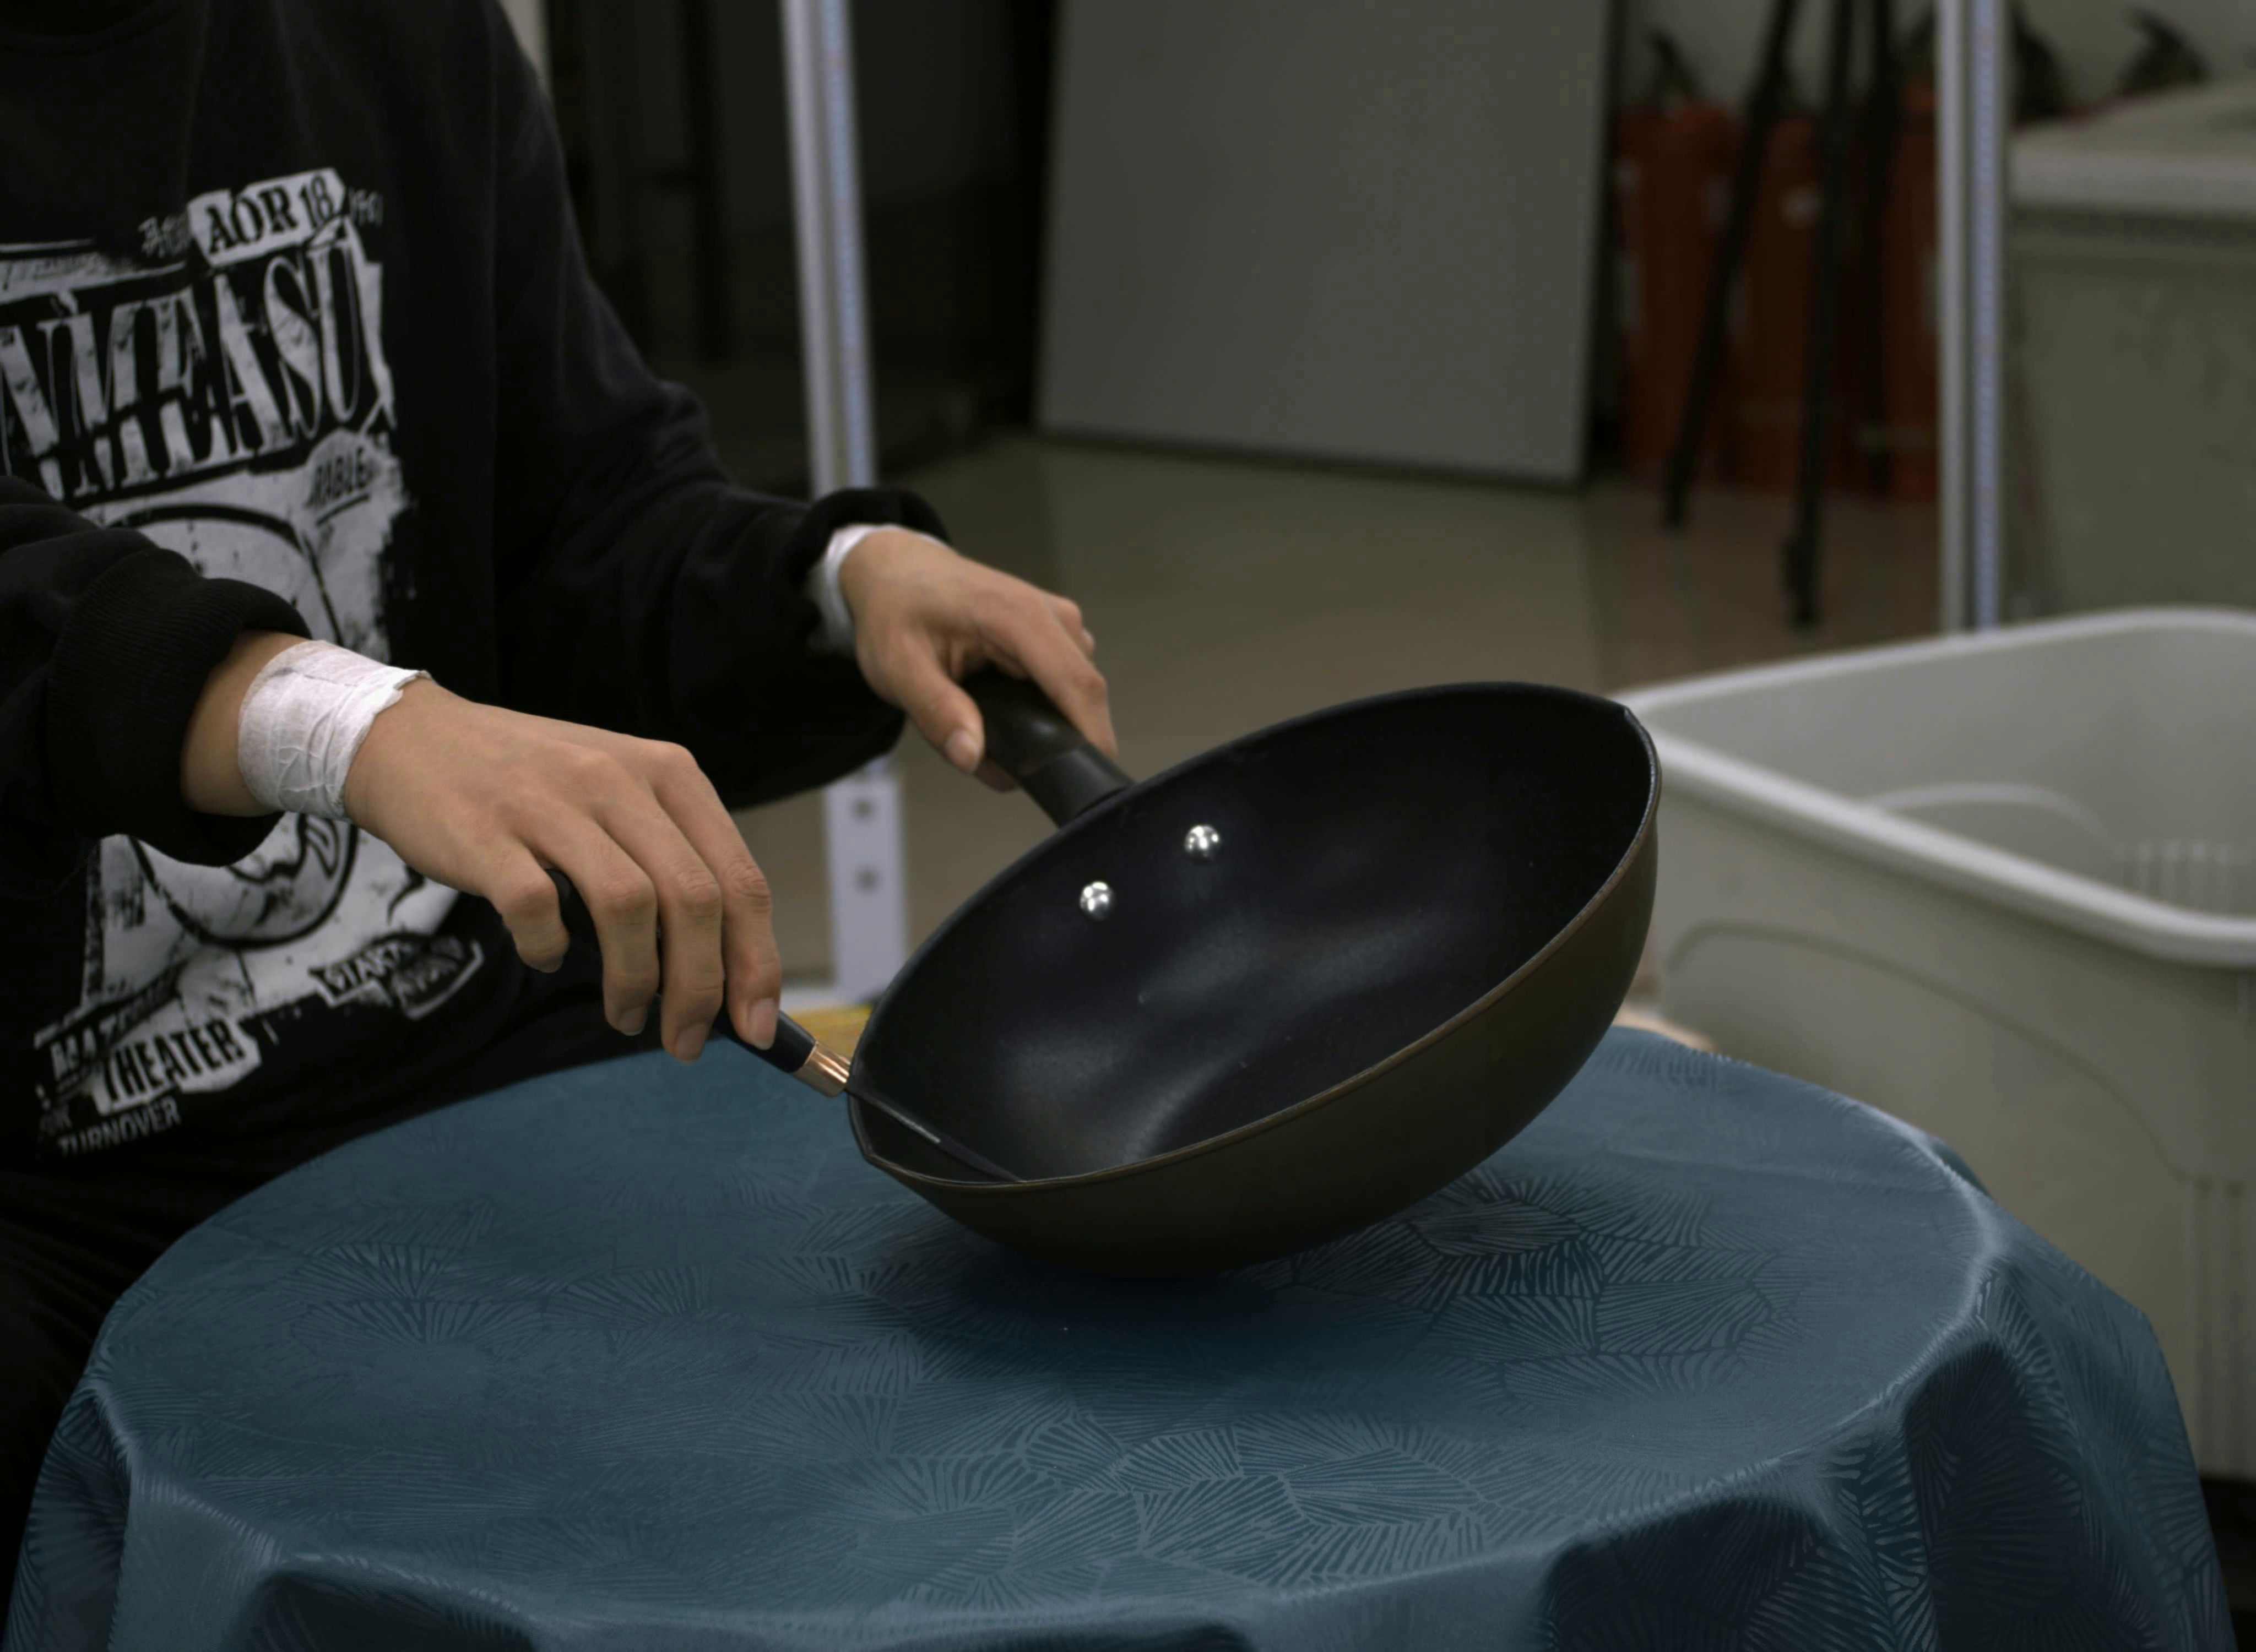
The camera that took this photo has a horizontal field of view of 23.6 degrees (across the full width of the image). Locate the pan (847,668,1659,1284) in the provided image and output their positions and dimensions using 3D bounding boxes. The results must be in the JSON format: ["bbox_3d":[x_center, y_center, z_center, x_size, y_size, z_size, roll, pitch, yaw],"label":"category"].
[{"bbox_3d":[0.025,0.039,1.804,0.285,0.087,0.467,-31,22,-8],"label":"pan"}]

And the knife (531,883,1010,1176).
[{"bbox_3d":[-0.086,0.075,1.619,0.222,0.017,0.026,33,-6,-22],"label":"knife"}]
